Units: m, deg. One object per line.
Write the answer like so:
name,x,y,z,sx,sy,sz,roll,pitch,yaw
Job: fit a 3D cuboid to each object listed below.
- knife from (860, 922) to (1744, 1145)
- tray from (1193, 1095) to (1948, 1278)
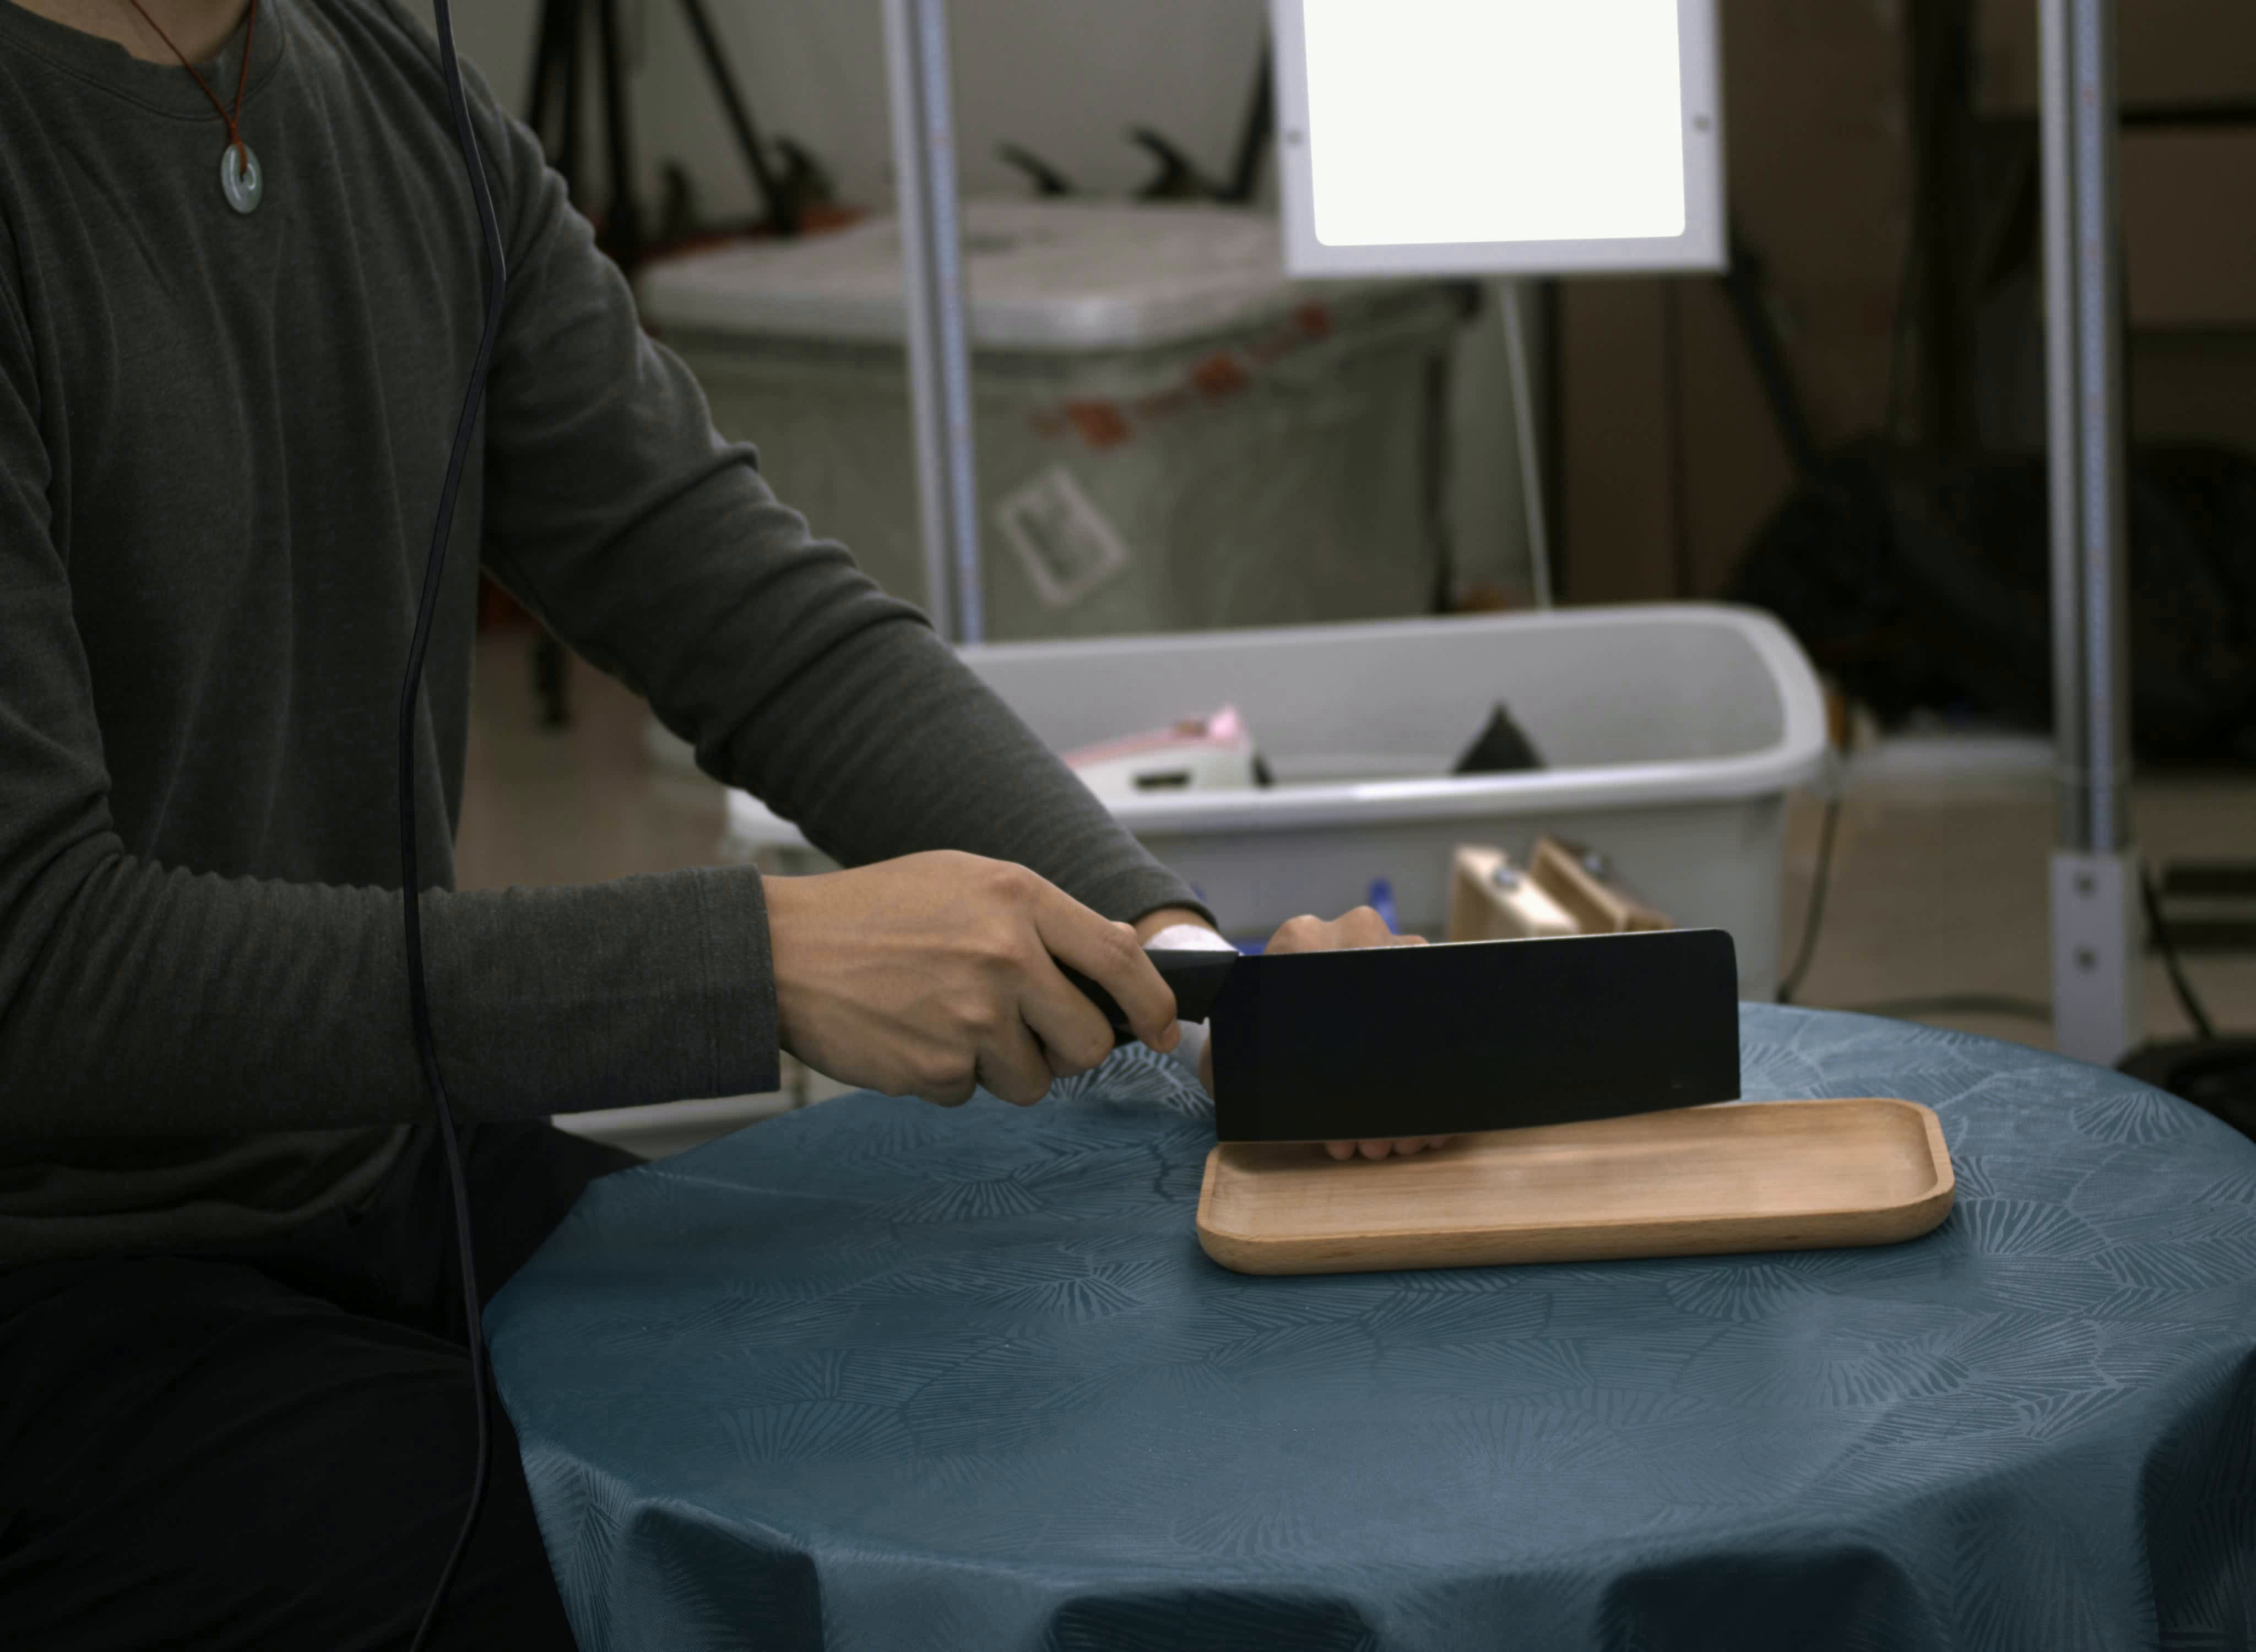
knife,0.060,0.070,1.868,0.302,0.081,0.021,1,9,2
tray,0.149,0.121,1.841,0.252,0.023,0.129,-4,11,8
